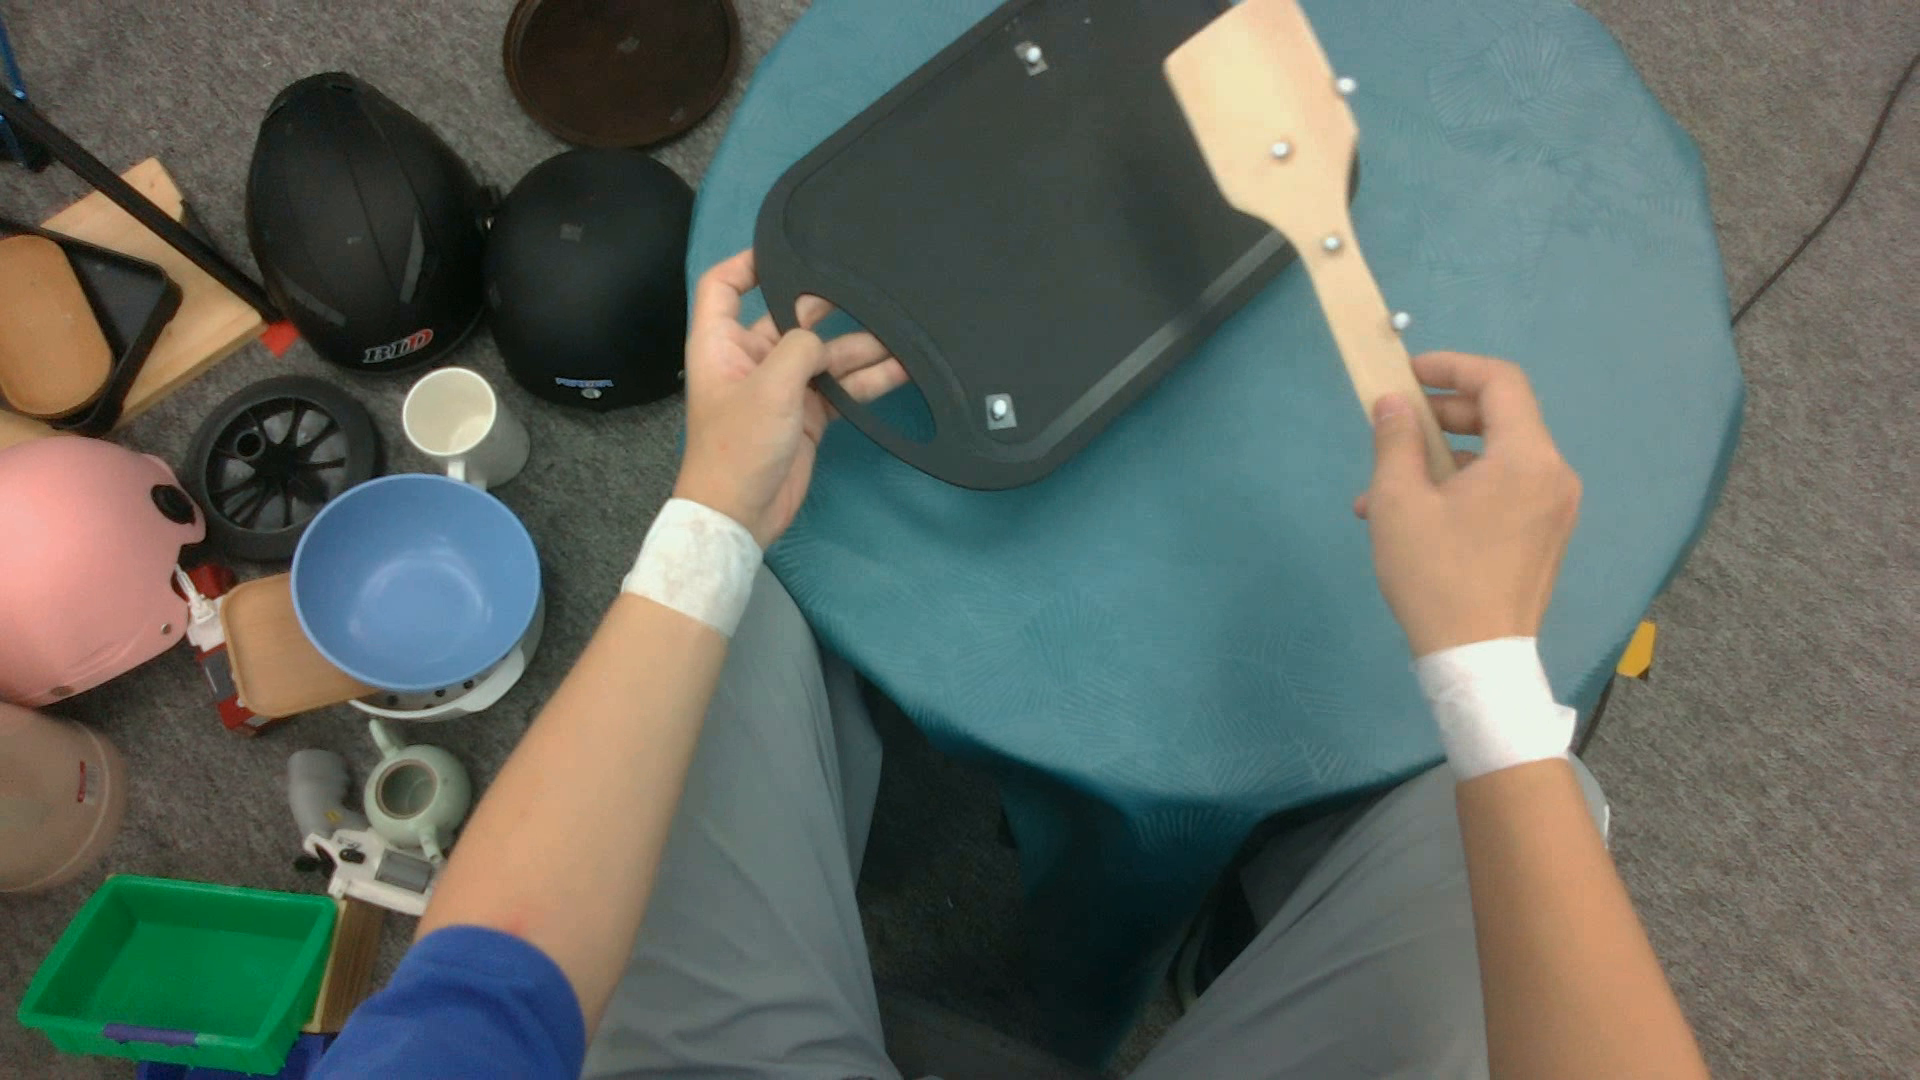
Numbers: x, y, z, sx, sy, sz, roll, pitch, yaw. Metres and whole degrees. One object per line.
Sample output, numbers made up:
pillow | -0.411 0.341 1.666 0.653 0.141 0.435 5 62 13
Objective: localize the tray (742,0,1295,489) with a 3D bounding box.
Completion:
tray | 0.043 -0.177 0.748 0.326 0.010 0.211 -42 86 -17

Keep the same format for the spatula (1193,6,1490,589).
spatula | 0.191 -0.116 0.663 0.072 0.011 0.293 -24 78 29
